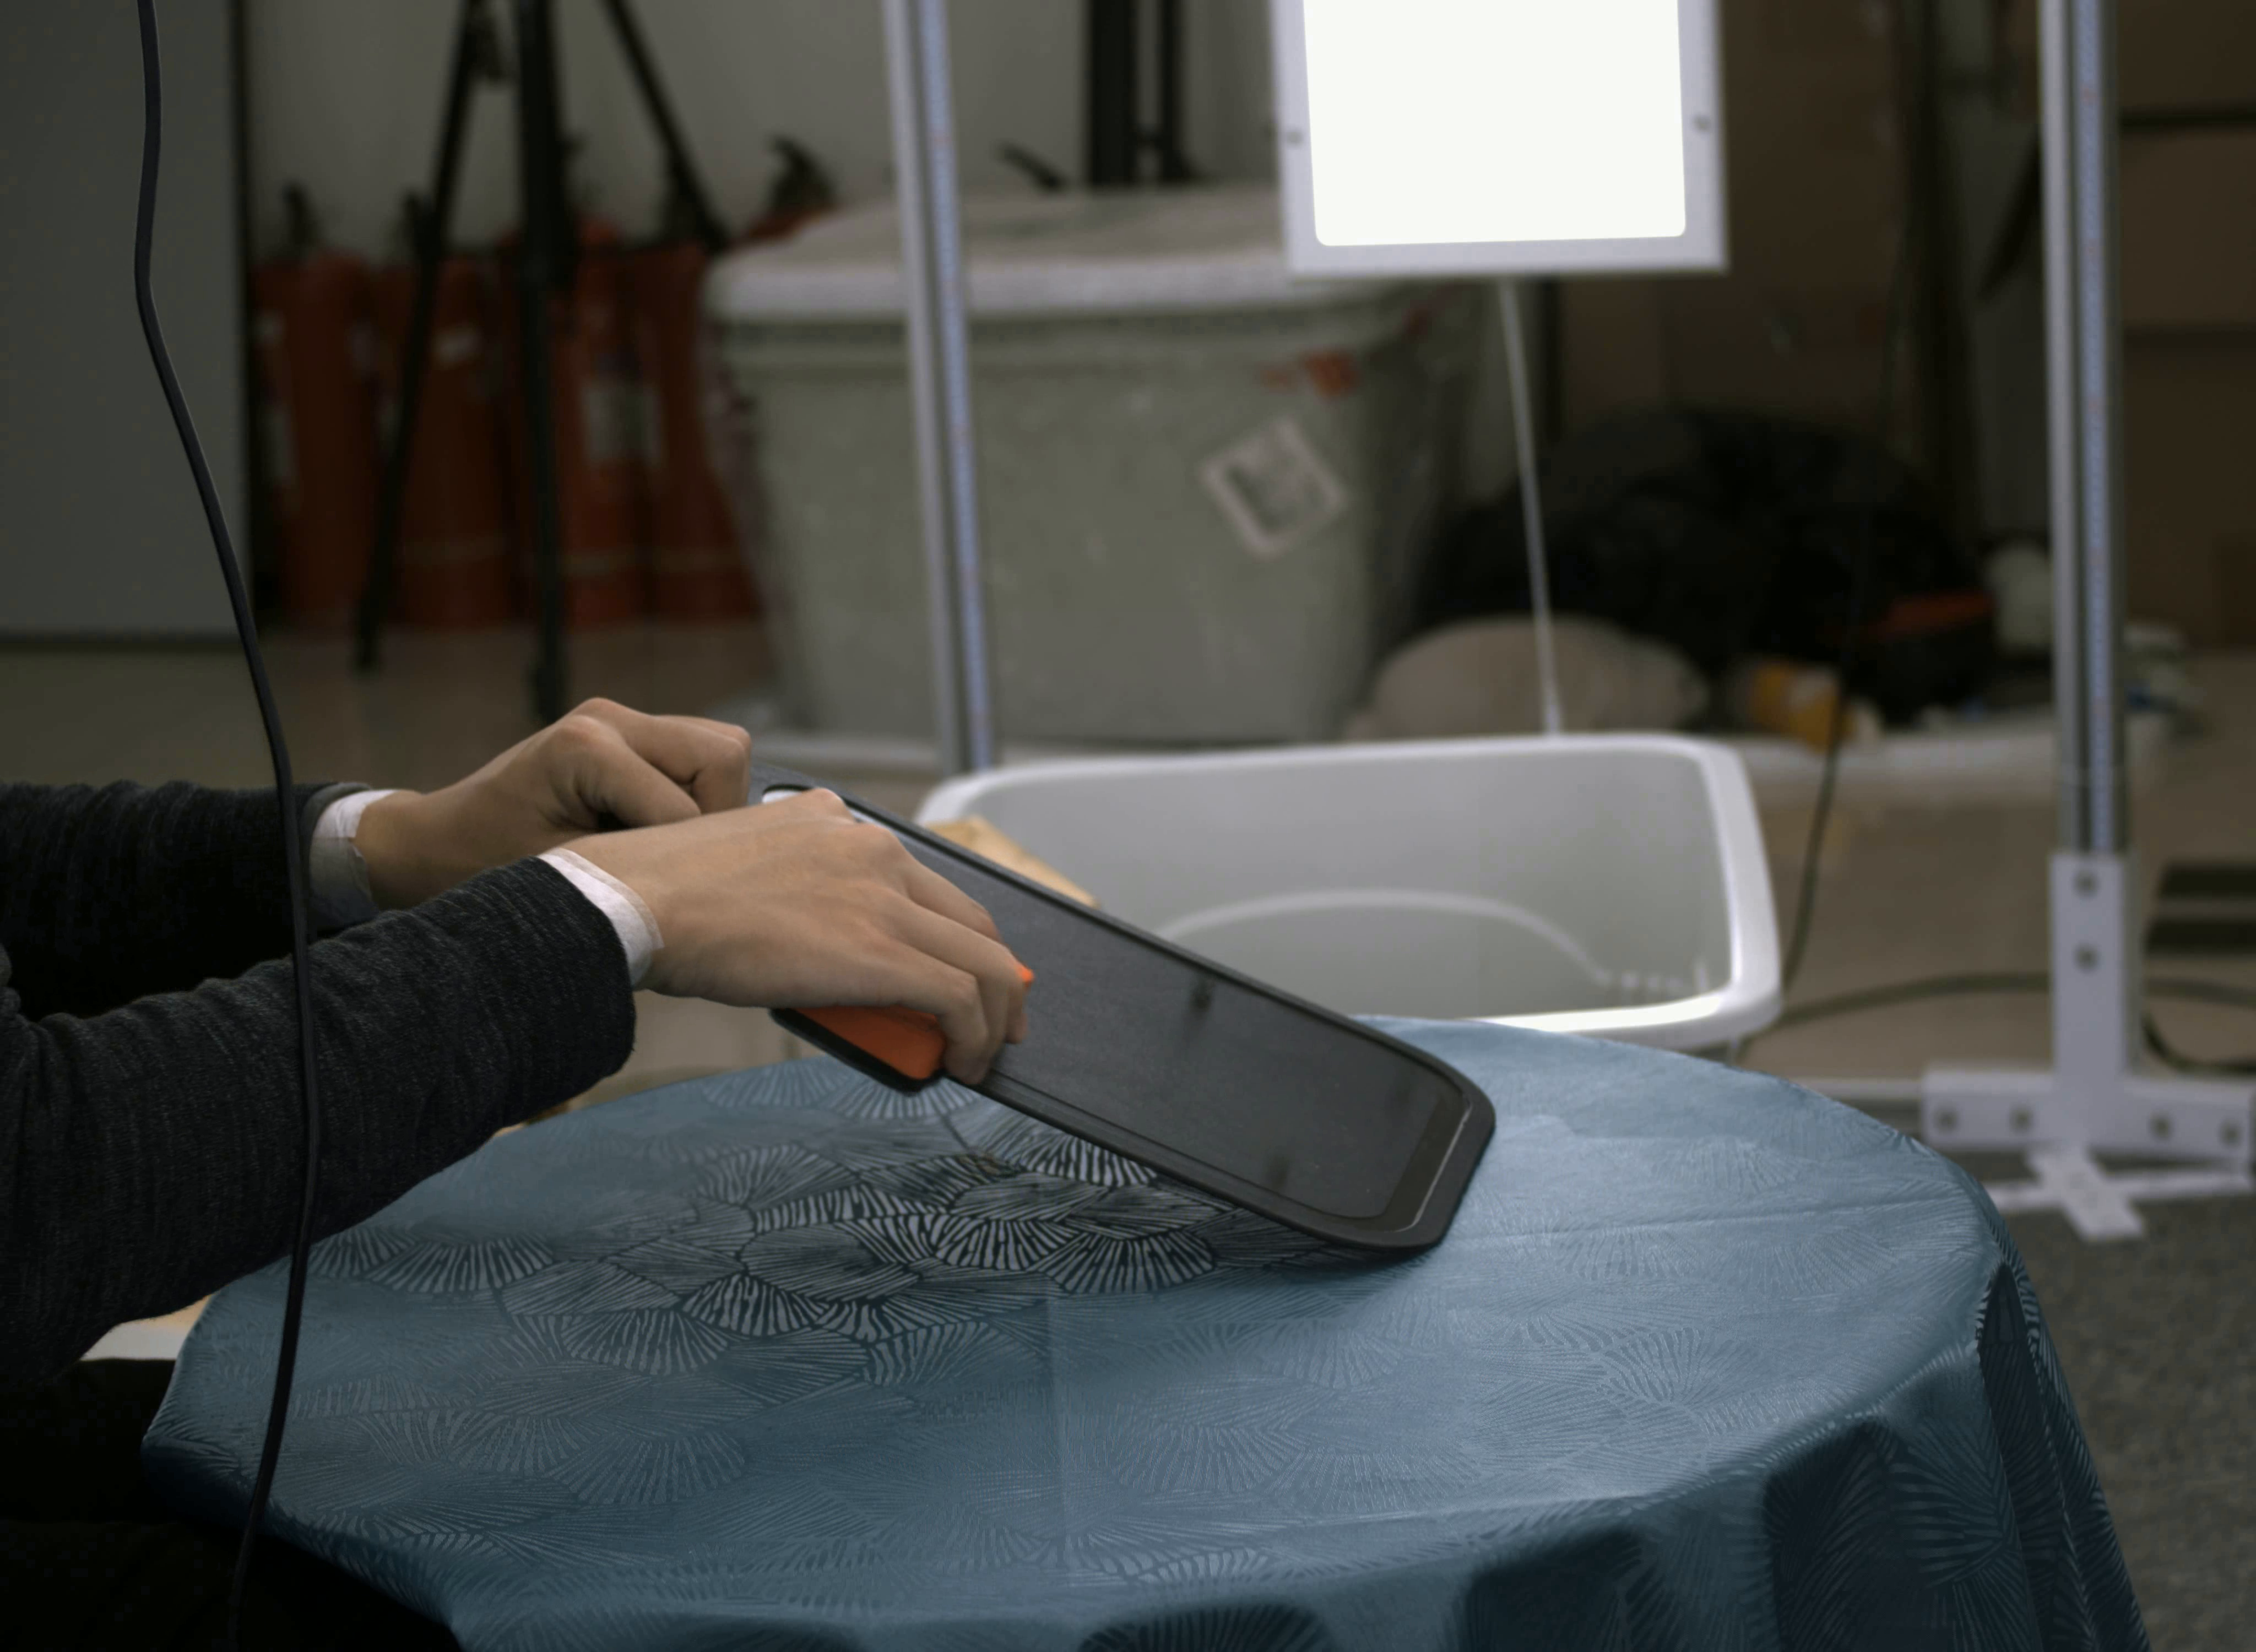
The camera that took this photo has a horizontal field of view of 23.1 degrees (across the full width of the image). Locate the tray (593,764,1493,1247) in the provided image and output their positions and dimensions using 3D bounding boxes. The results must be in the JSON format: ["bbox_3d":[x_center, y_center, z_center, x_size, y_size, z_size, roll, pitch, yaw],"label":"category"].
[{"bbox_3d":[-0.031,0.055,1.896,0.326,0.010,0.208,24,18,7],"label":"tray"}]

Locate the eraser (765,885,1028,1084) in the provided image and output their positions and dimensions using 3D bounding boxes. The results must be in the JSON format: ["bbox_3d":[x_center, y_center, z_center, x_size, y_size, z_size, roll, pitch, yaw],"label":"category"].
[{"bbox_3d":[-0.075,0.051,1.813,0.059,0.023,0.106,24,20,12],"label":"eraser"}]
